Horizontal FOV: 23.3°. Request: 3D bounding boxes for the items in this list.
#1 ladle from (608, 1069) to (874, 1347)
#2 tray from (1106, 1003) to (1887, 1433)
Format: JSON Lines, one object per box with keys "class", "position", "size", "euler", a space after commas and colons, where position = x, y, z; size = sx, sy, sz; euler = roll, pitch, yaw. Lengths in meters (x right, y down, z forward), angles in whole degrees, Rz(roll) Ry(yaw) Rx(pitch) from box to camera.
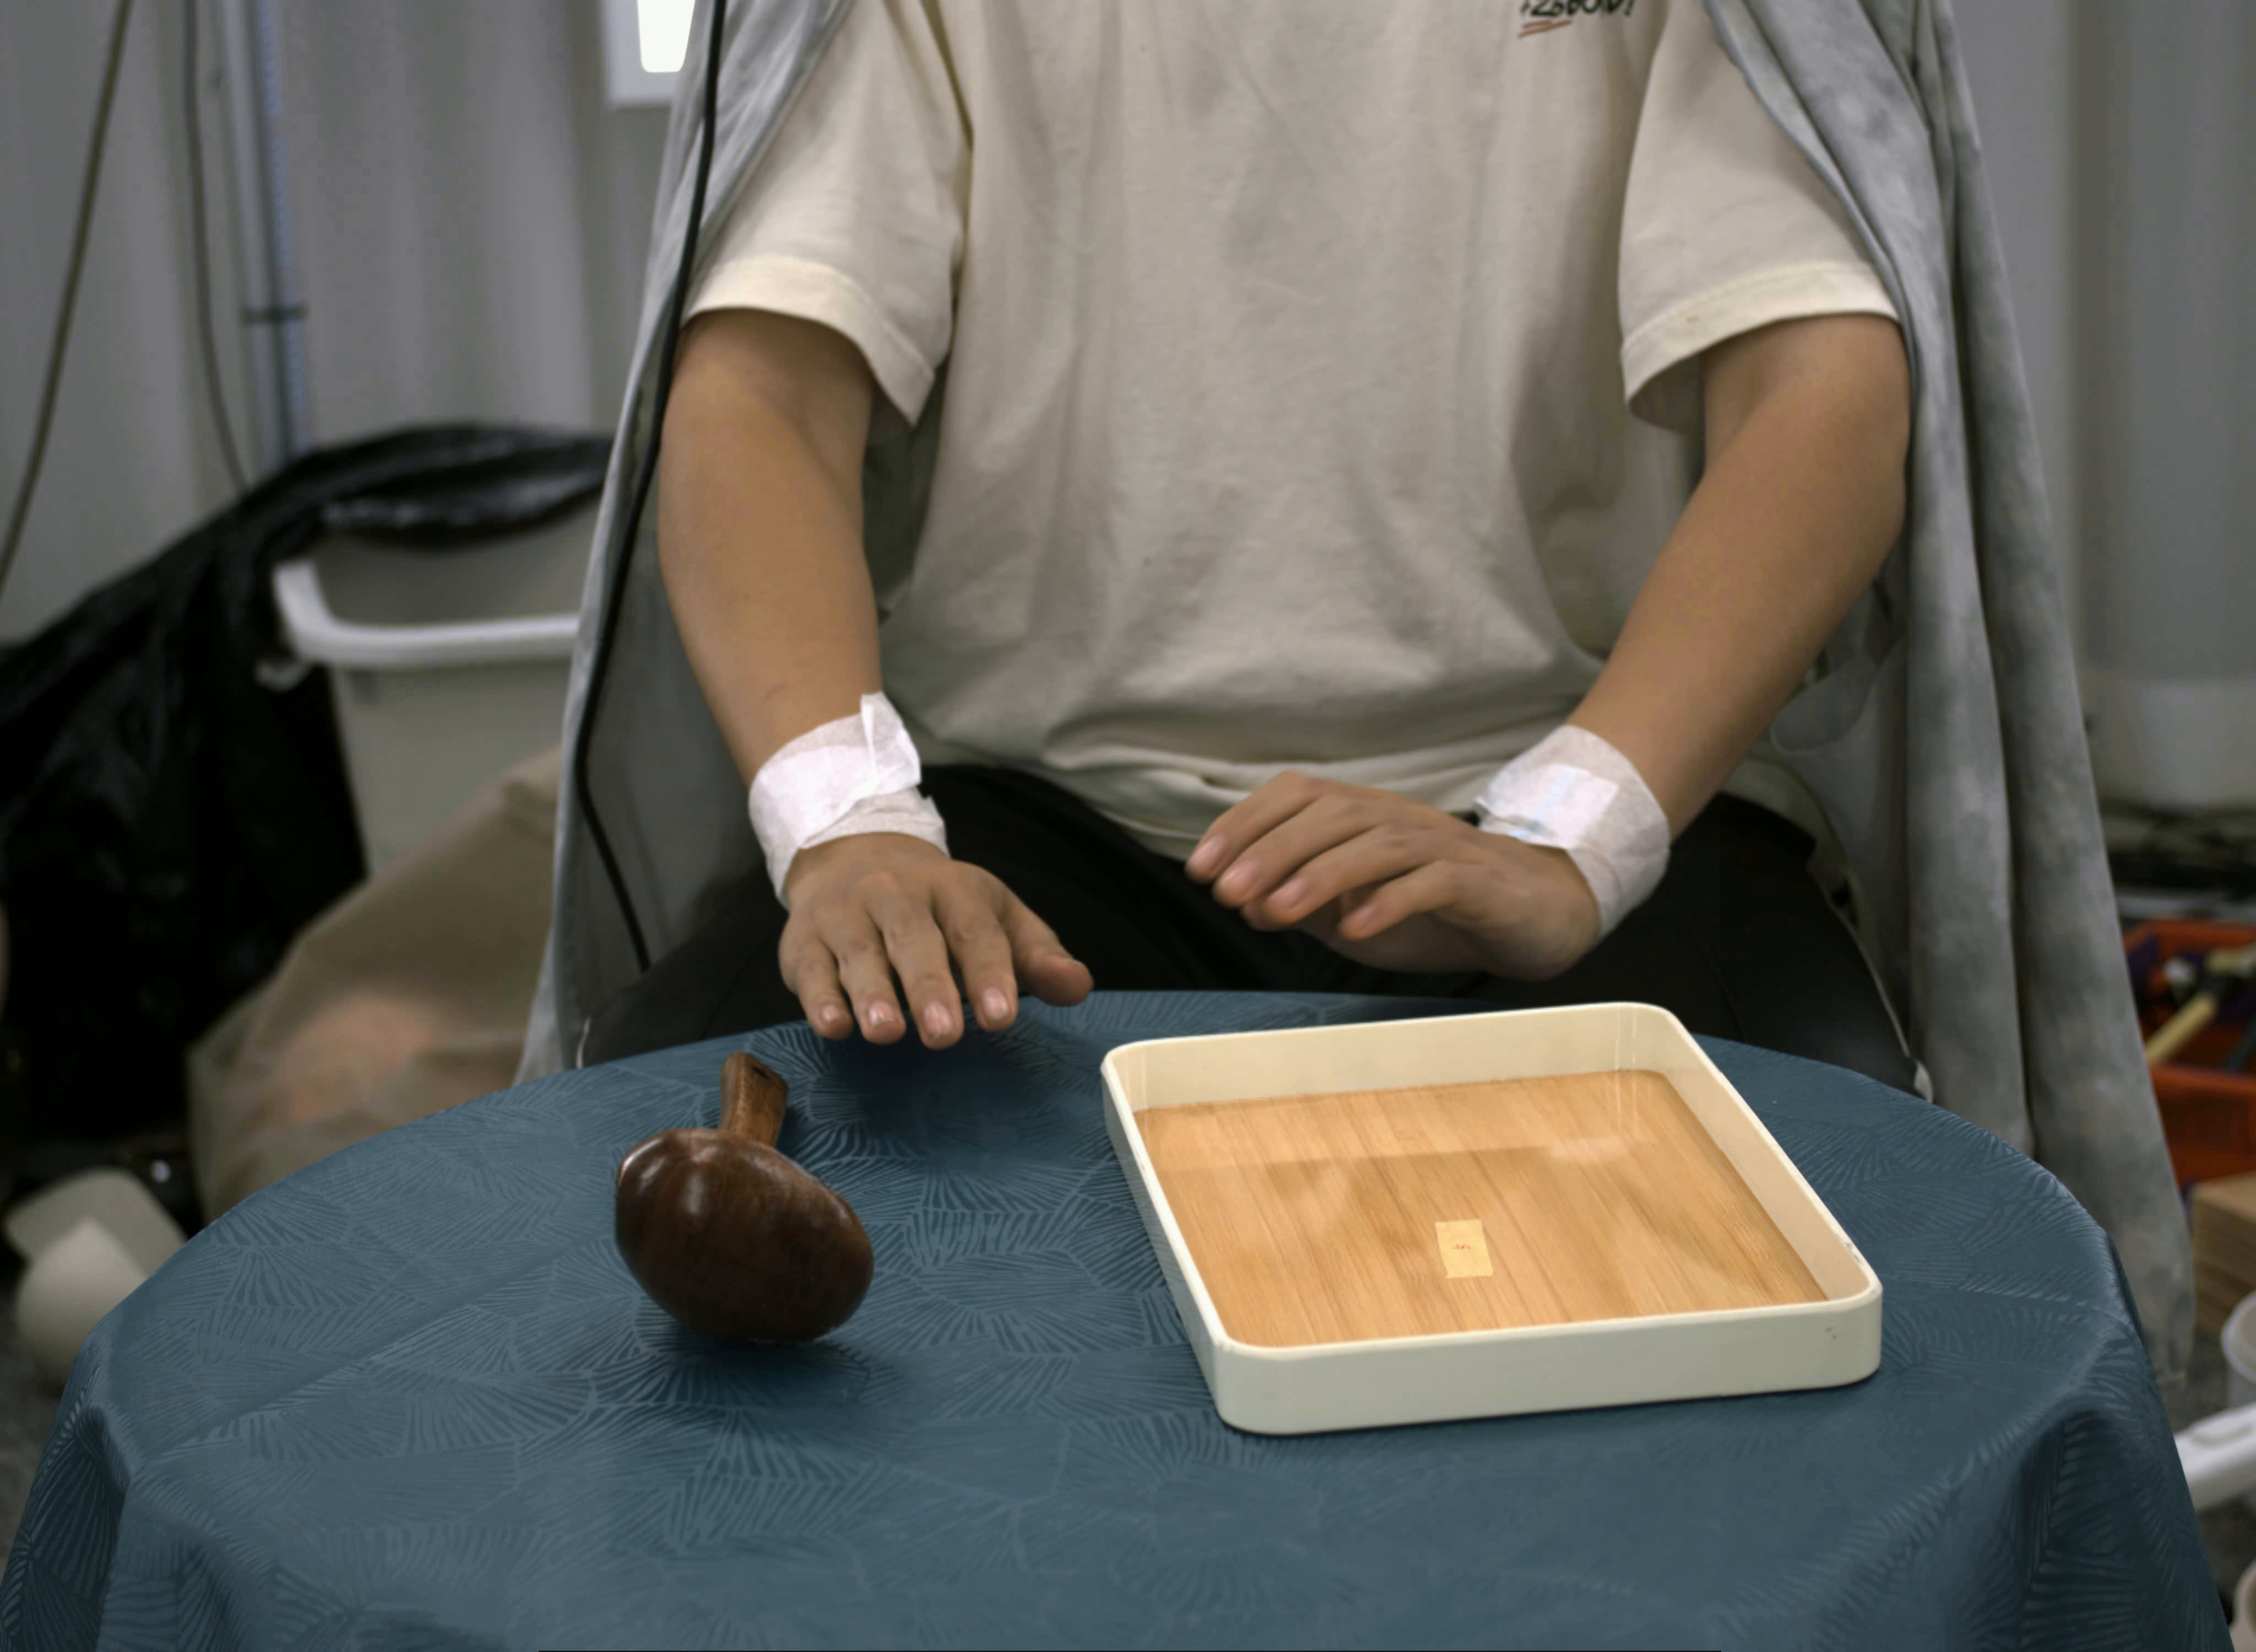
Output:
{"class": "ladle", "position": [-0.109, 0.094, 1.682], "size": [0.081, 0.076, 0.275], "euler": [38, 13, -6]}
{"class": "tray", "position": [0.103, 0.114, 1.651], "size": [0.191, 0.027, 0.302], "euler": [-4, 15, -6]}
